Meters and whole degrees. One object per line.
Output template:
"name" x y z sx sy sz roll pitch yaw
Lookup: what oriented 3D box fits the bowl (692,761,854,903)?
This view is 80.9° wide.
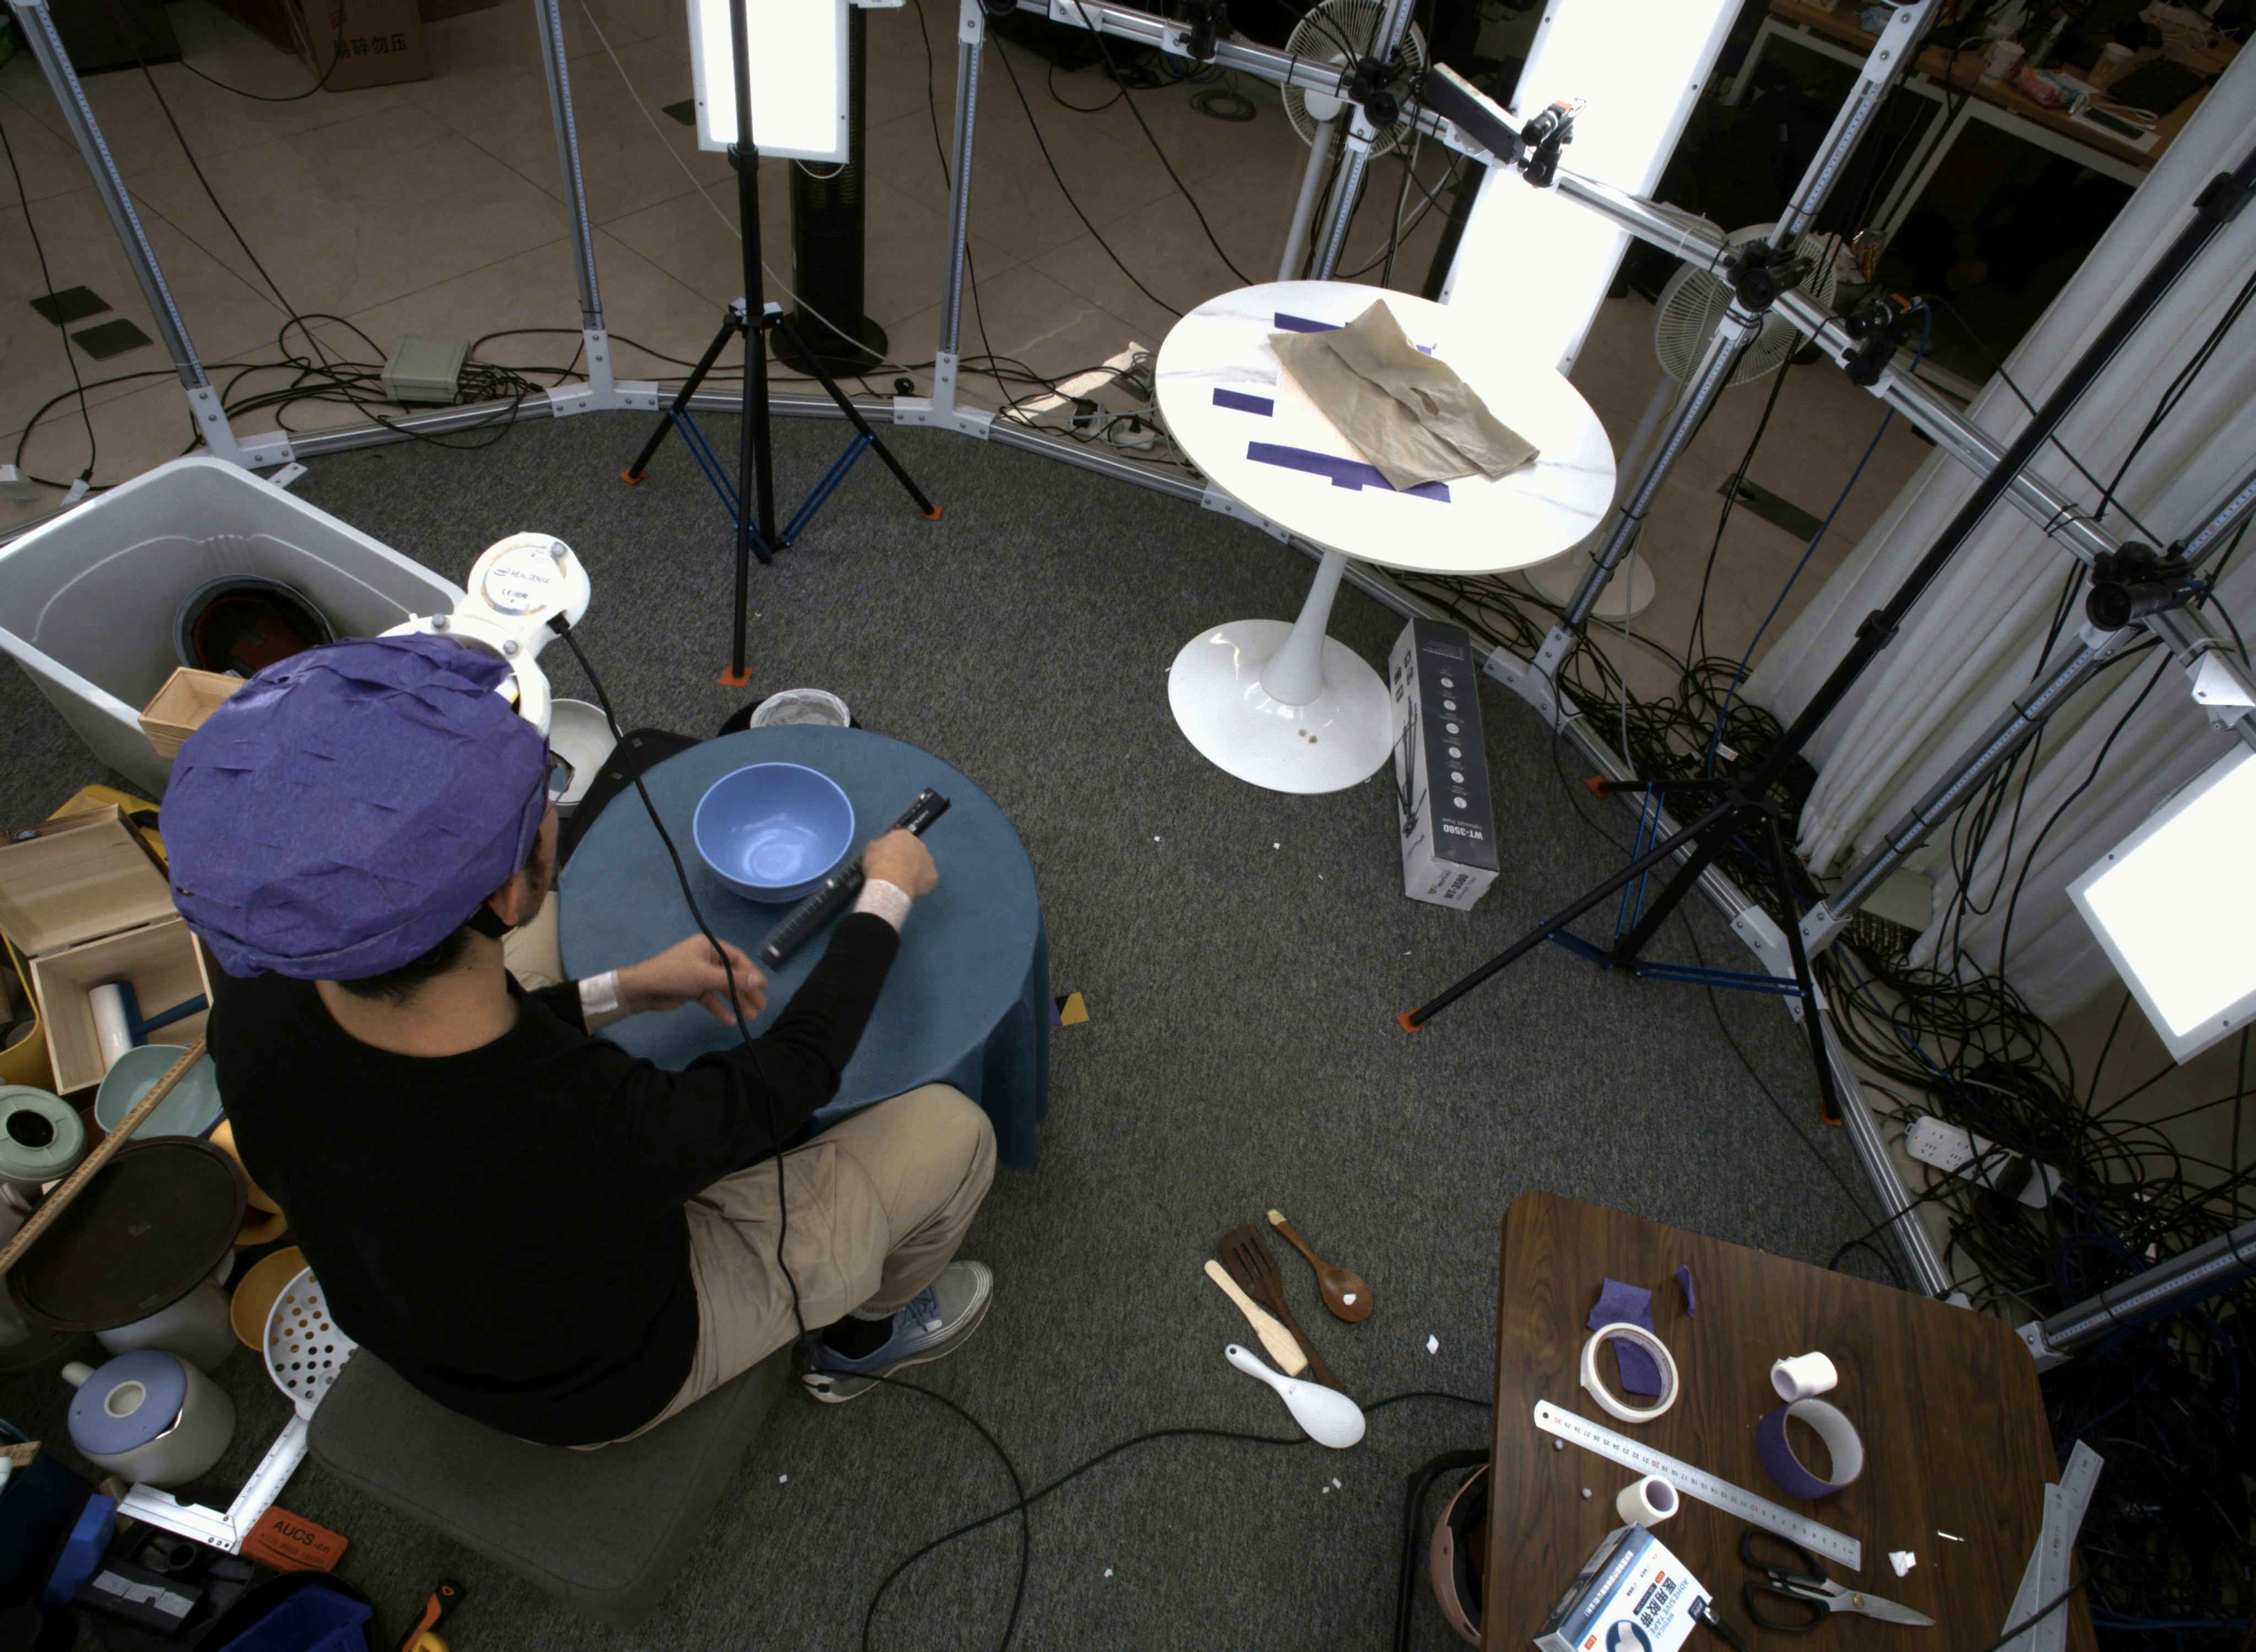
"bowl" -0.445 0.022 1.635 0.196 0.097 0.193 8 51 -8

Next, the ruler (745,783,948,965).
"ruler" -0.330 0.047 1.552 0.039 0.017 0.312 42 58 5
